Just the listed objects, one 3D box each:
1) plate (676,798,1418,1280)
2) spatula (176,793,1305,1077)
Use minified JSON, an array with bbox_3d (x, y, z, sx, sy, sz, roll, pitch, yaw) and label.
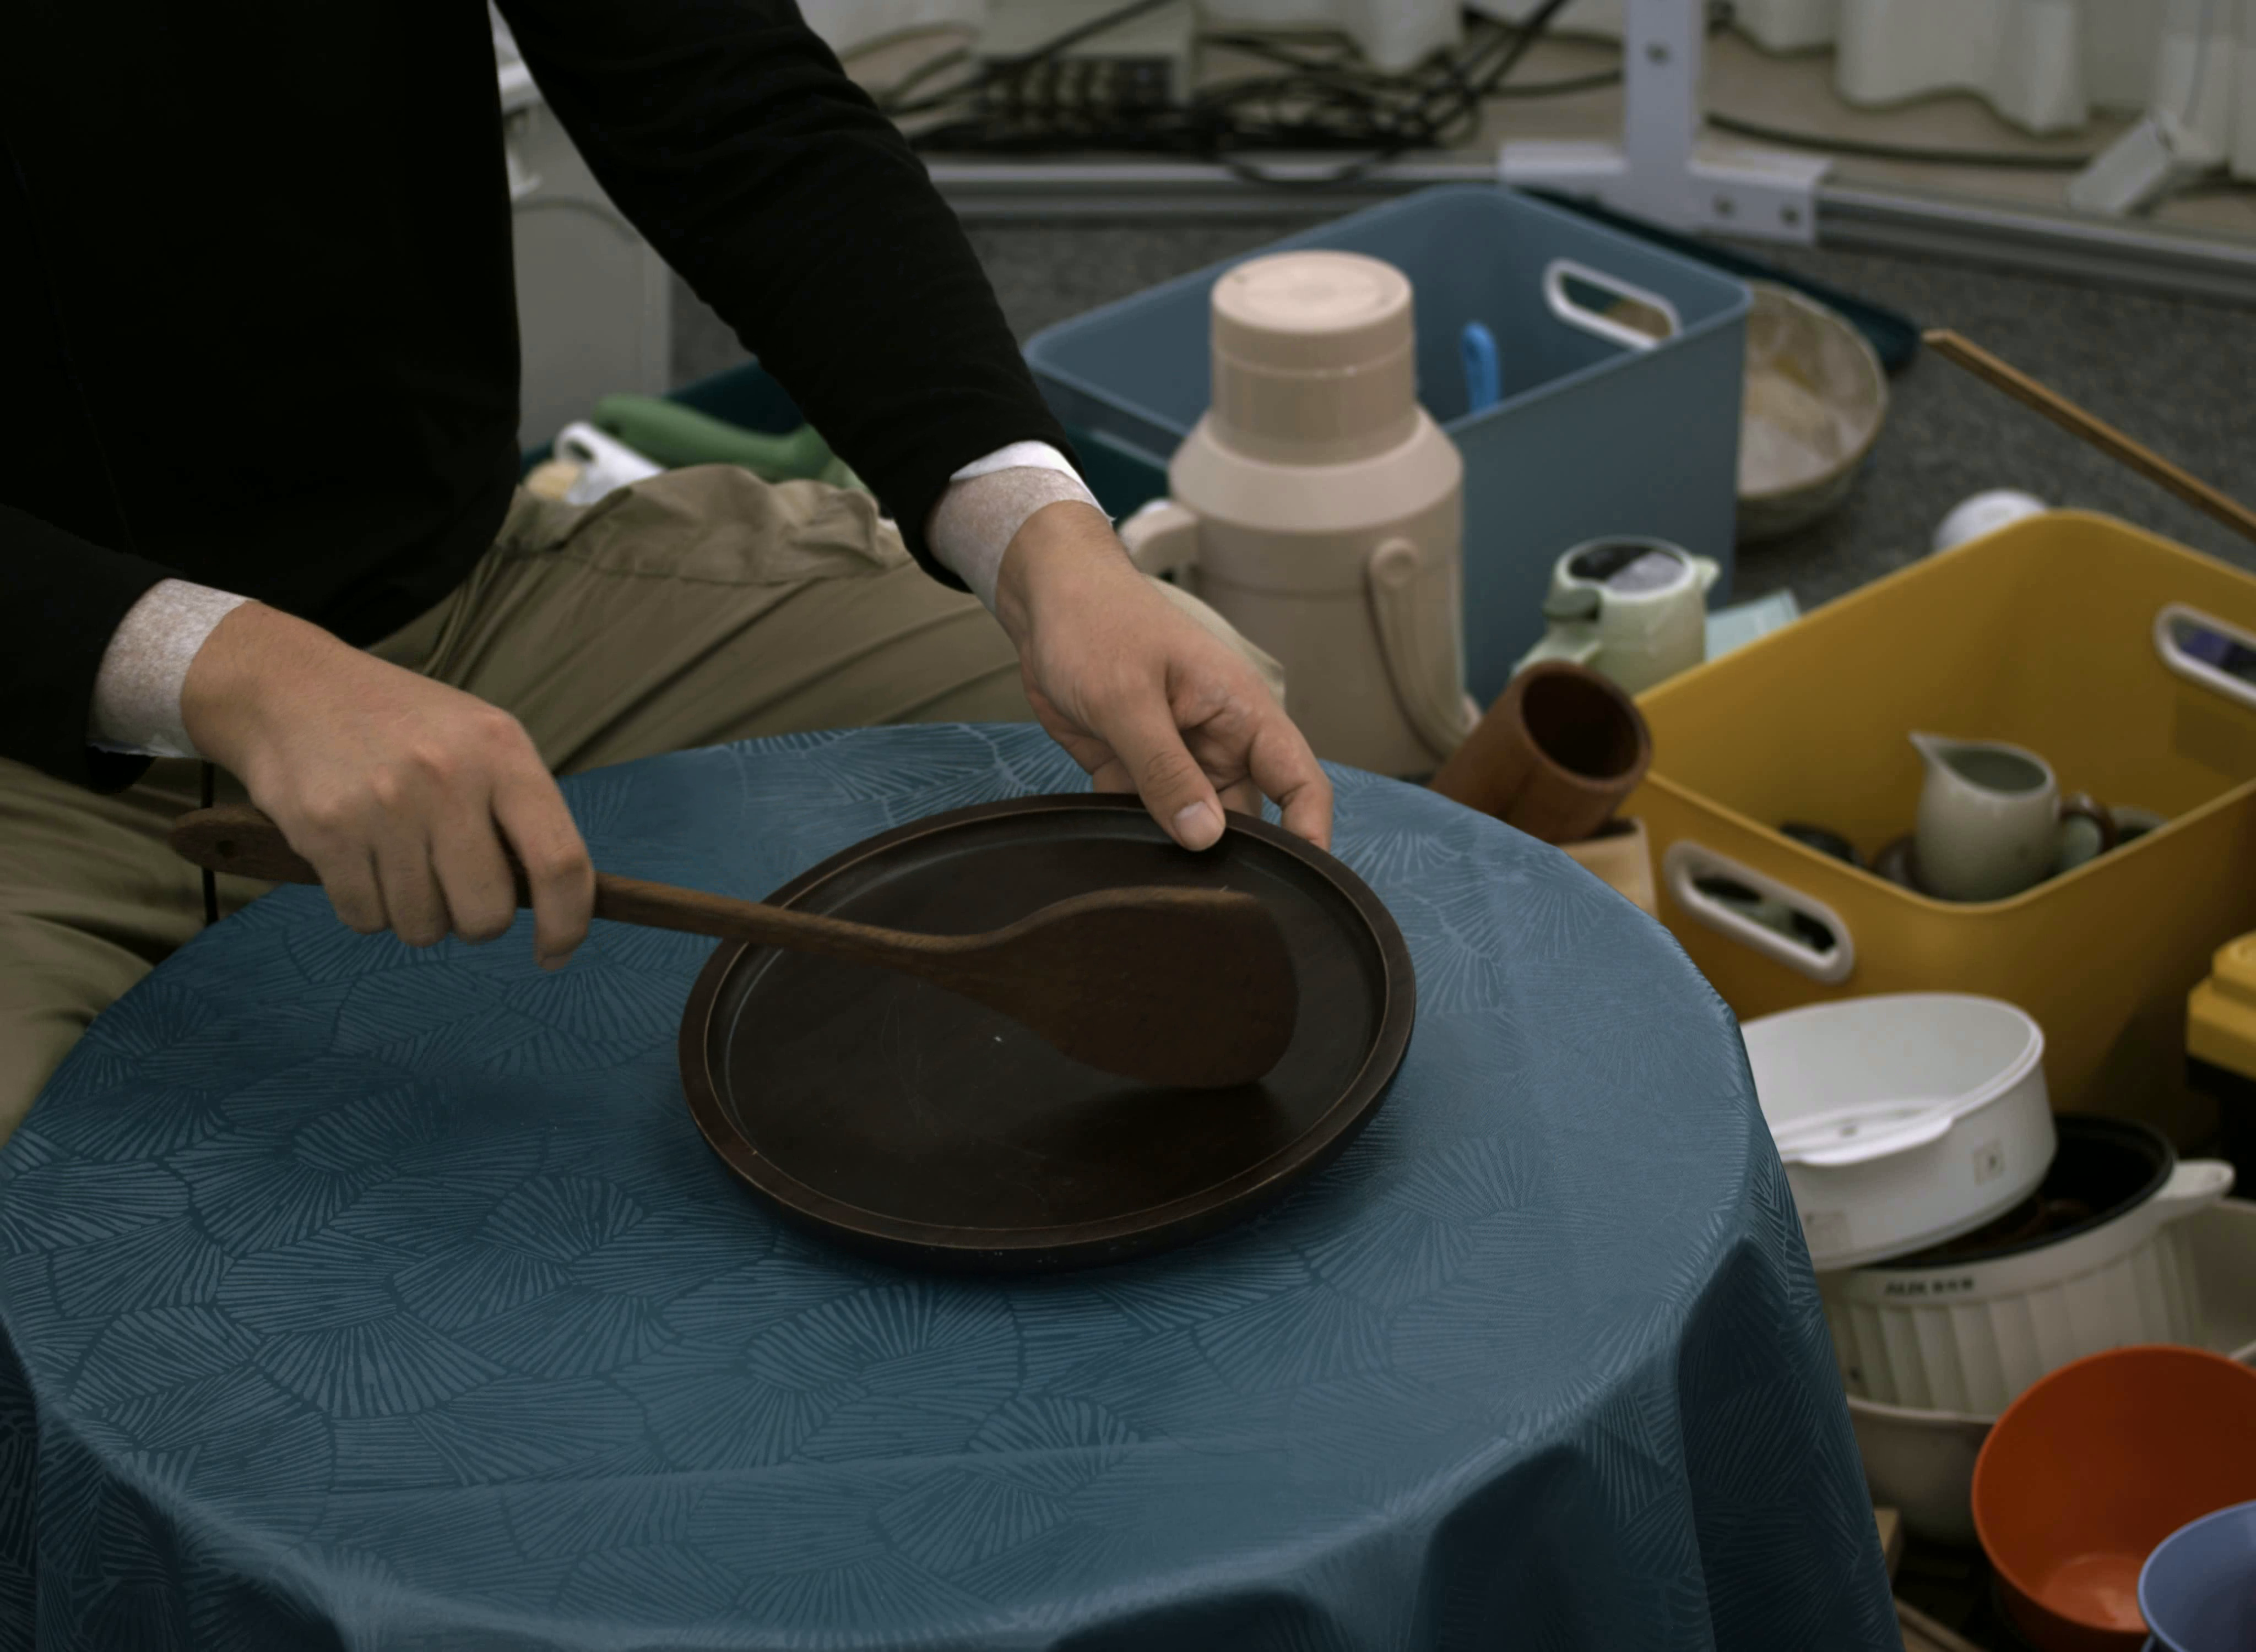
[{"bbox_3d":[-0.027,0.070,1.905,0.253,0.028,0.259,-4,36,3],"label":"plate"},{"bbox_3d":[-0.130,0.027,1.863,0.384,0.094,0.016,9,46,8],"label":"spatula"}]
